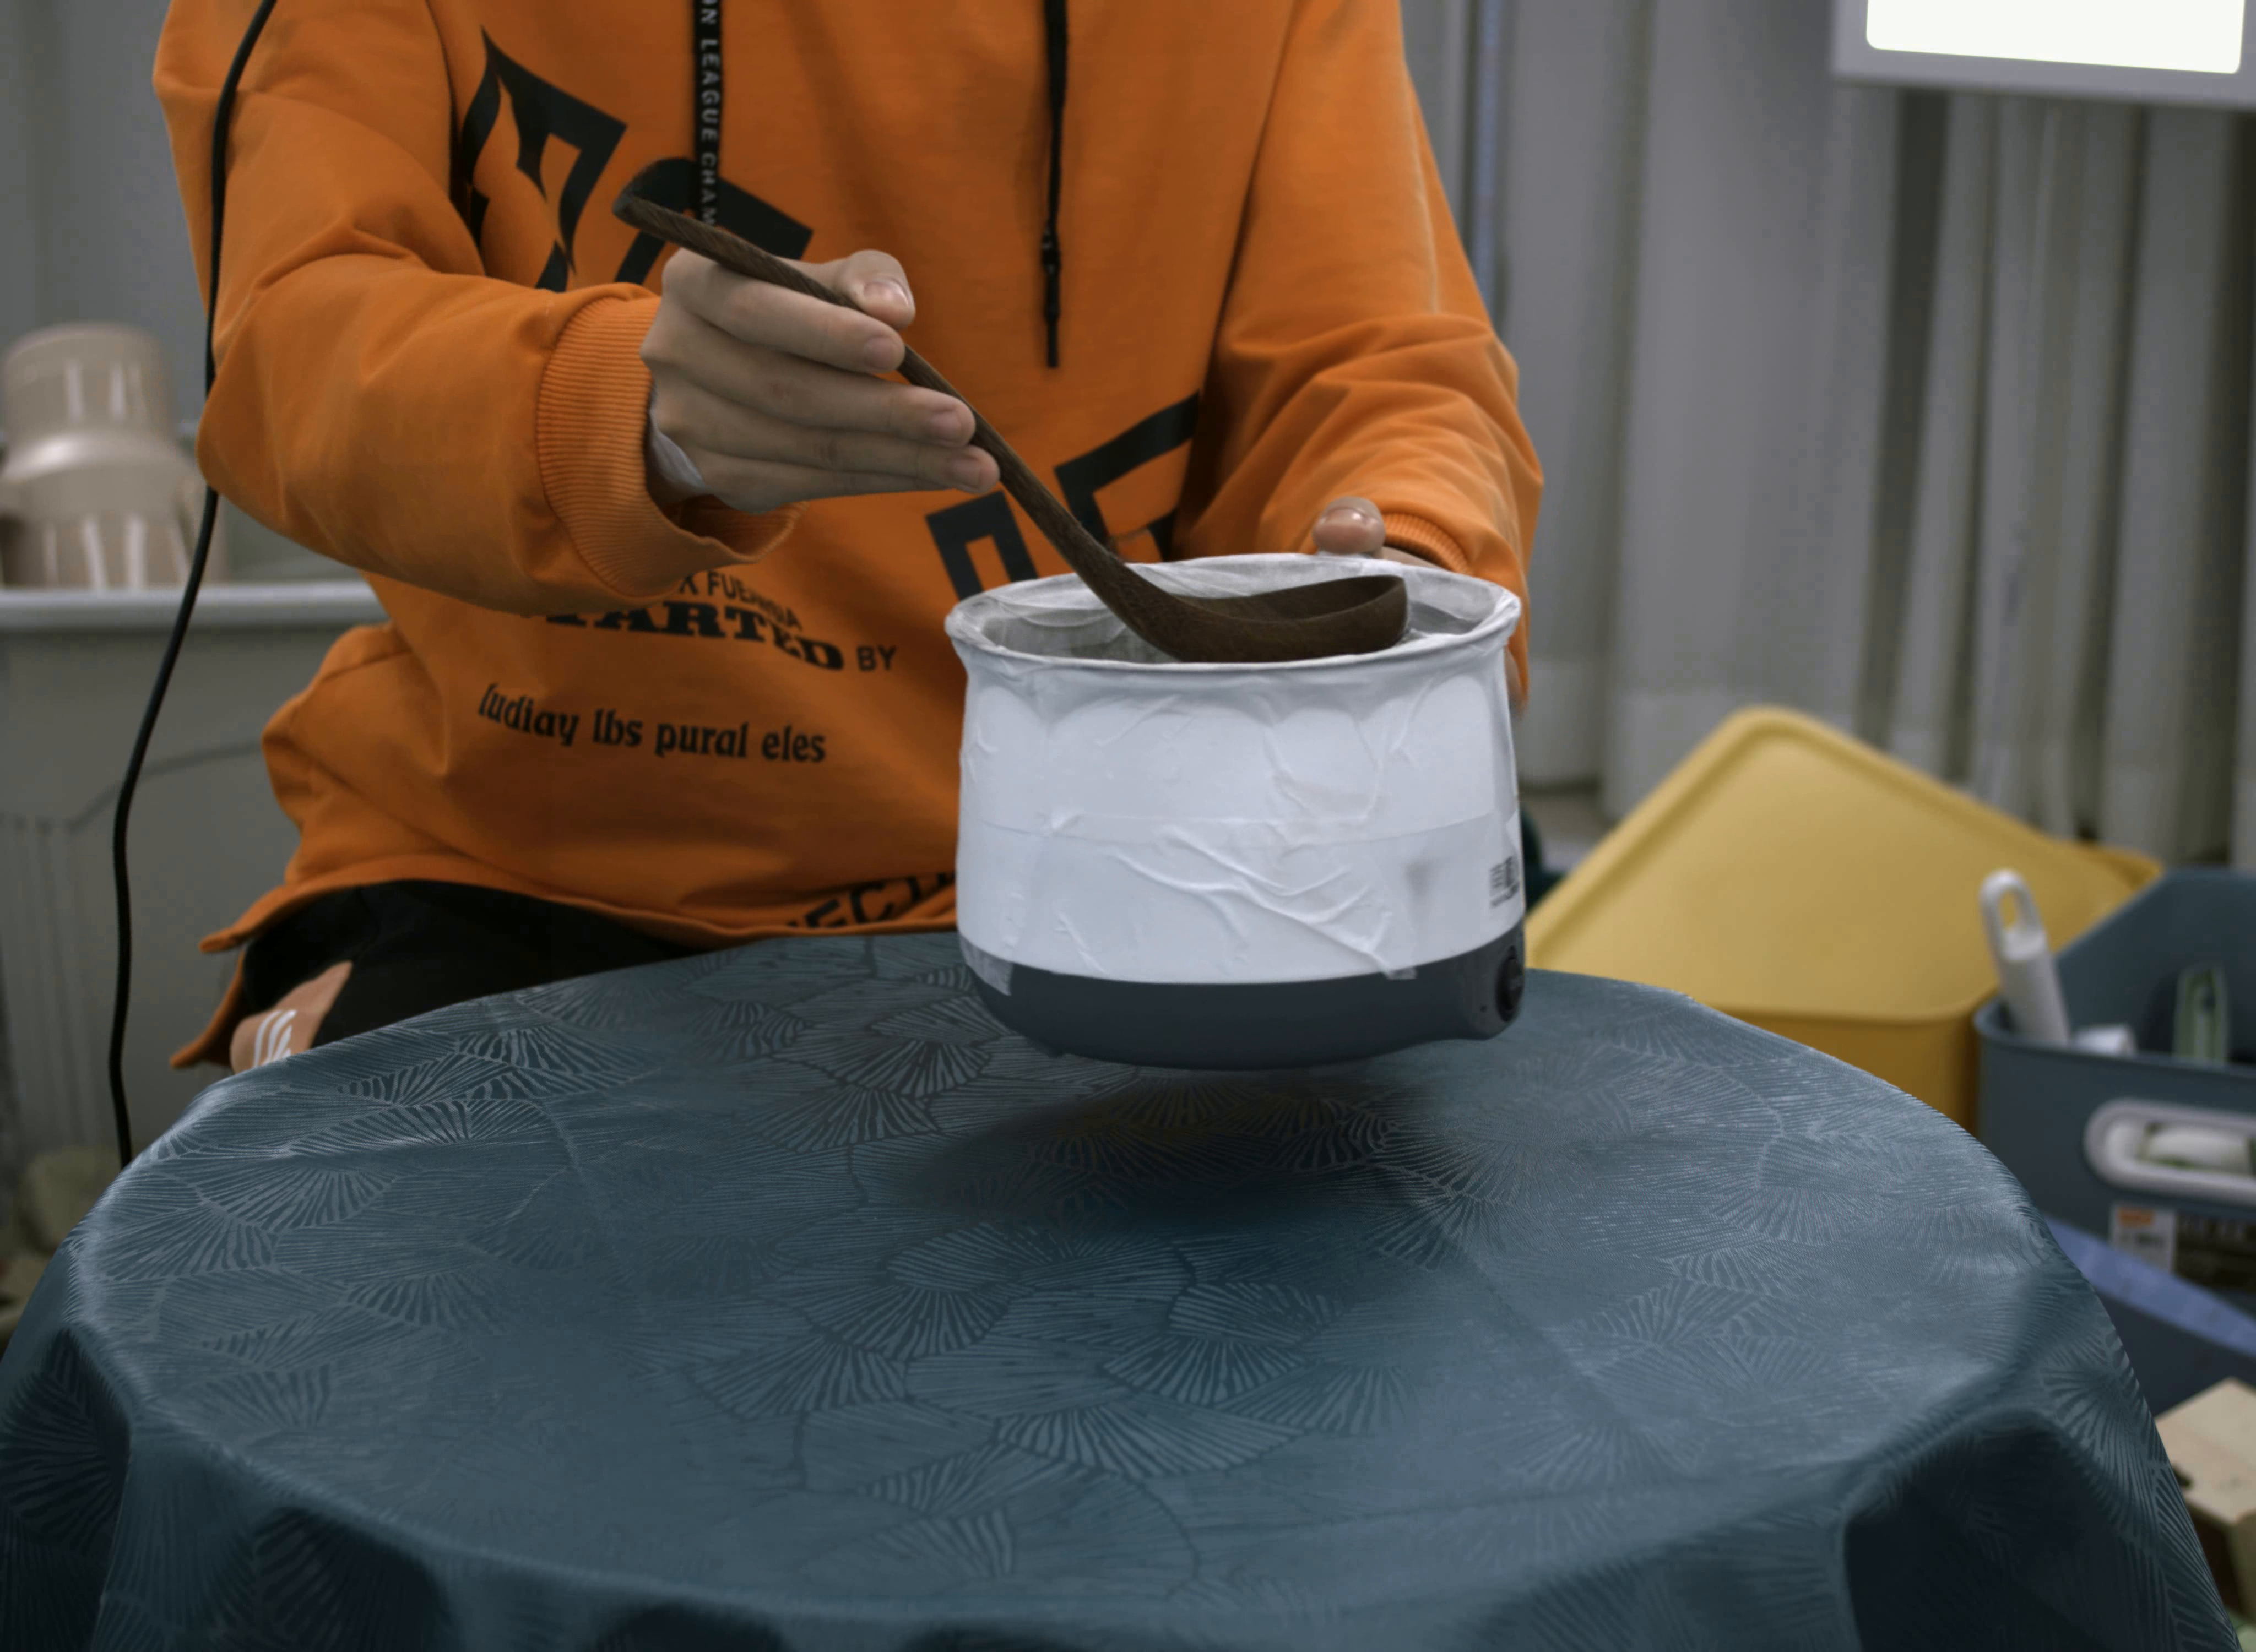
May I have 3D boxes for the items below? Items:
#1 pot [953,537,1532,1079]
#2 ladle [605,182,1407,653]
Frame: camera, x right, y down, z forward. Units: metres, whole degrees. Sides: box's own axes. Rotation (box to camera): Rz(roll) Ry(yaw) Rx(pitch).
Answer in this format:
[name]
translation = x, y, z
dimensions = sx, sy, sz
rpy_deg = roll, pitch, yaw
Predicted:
[pot]
translation = 0.046, -0.011, 1.653
dimensions = 0.177, 0.137, 0.234
rpy_deg = 3, 14, 19
[ladle]
translation = -0.032, -0.132, 1.608
dimensions = 0.276, 0.071, 0.075
rpy_deg = 40, -5, -16
